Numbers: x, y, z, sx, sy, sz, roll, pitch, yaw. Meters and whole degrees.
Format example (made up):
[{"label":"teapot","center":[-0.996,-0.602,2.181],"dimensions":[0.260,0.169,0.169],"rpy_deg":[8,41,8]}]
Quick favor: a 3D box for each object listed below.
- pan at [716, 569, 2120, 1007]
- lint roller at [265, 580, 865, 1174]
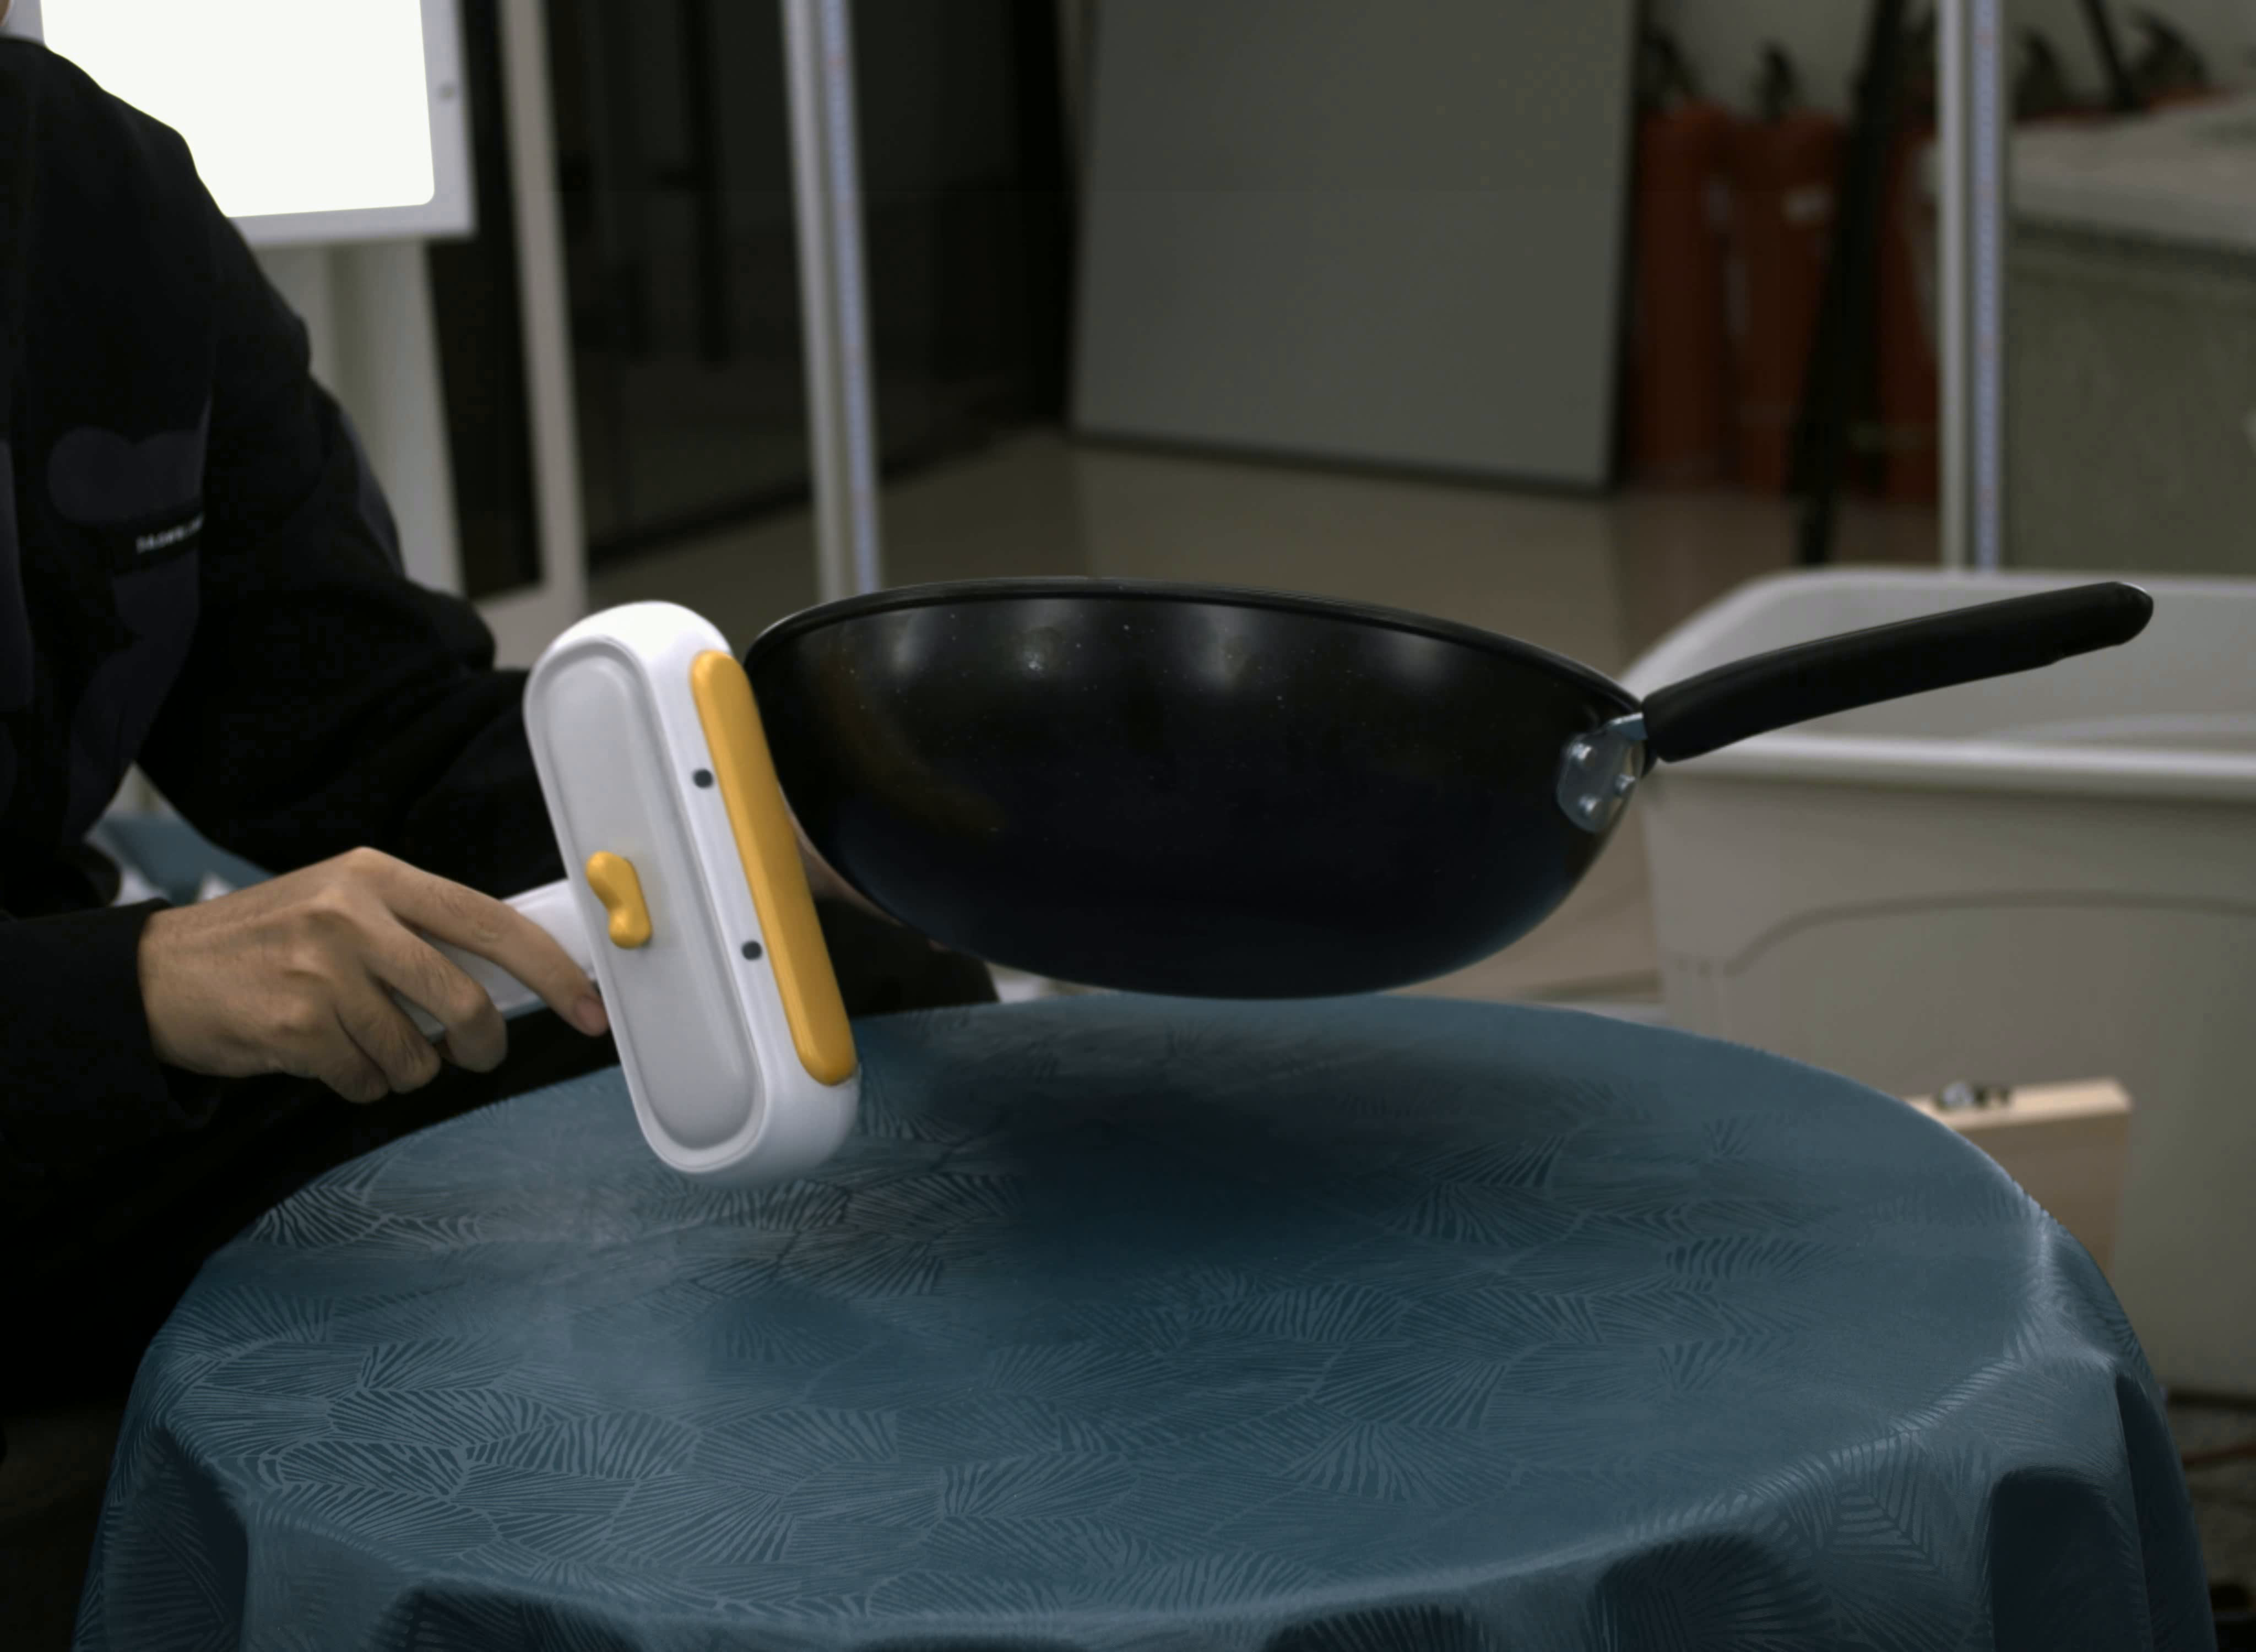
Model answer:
[{"label":"pan","center":[0.089,-0.013,1.751],"dimensions":[0.477,0.113,0.306],"rpy_deg":[-2,-15,26]},{"label":"lint roller","center":[-0.191,0.039,1.748],"dimensions":[0.193,0.195,0.073],"rpy_deg":[-25,-8,25]}]
